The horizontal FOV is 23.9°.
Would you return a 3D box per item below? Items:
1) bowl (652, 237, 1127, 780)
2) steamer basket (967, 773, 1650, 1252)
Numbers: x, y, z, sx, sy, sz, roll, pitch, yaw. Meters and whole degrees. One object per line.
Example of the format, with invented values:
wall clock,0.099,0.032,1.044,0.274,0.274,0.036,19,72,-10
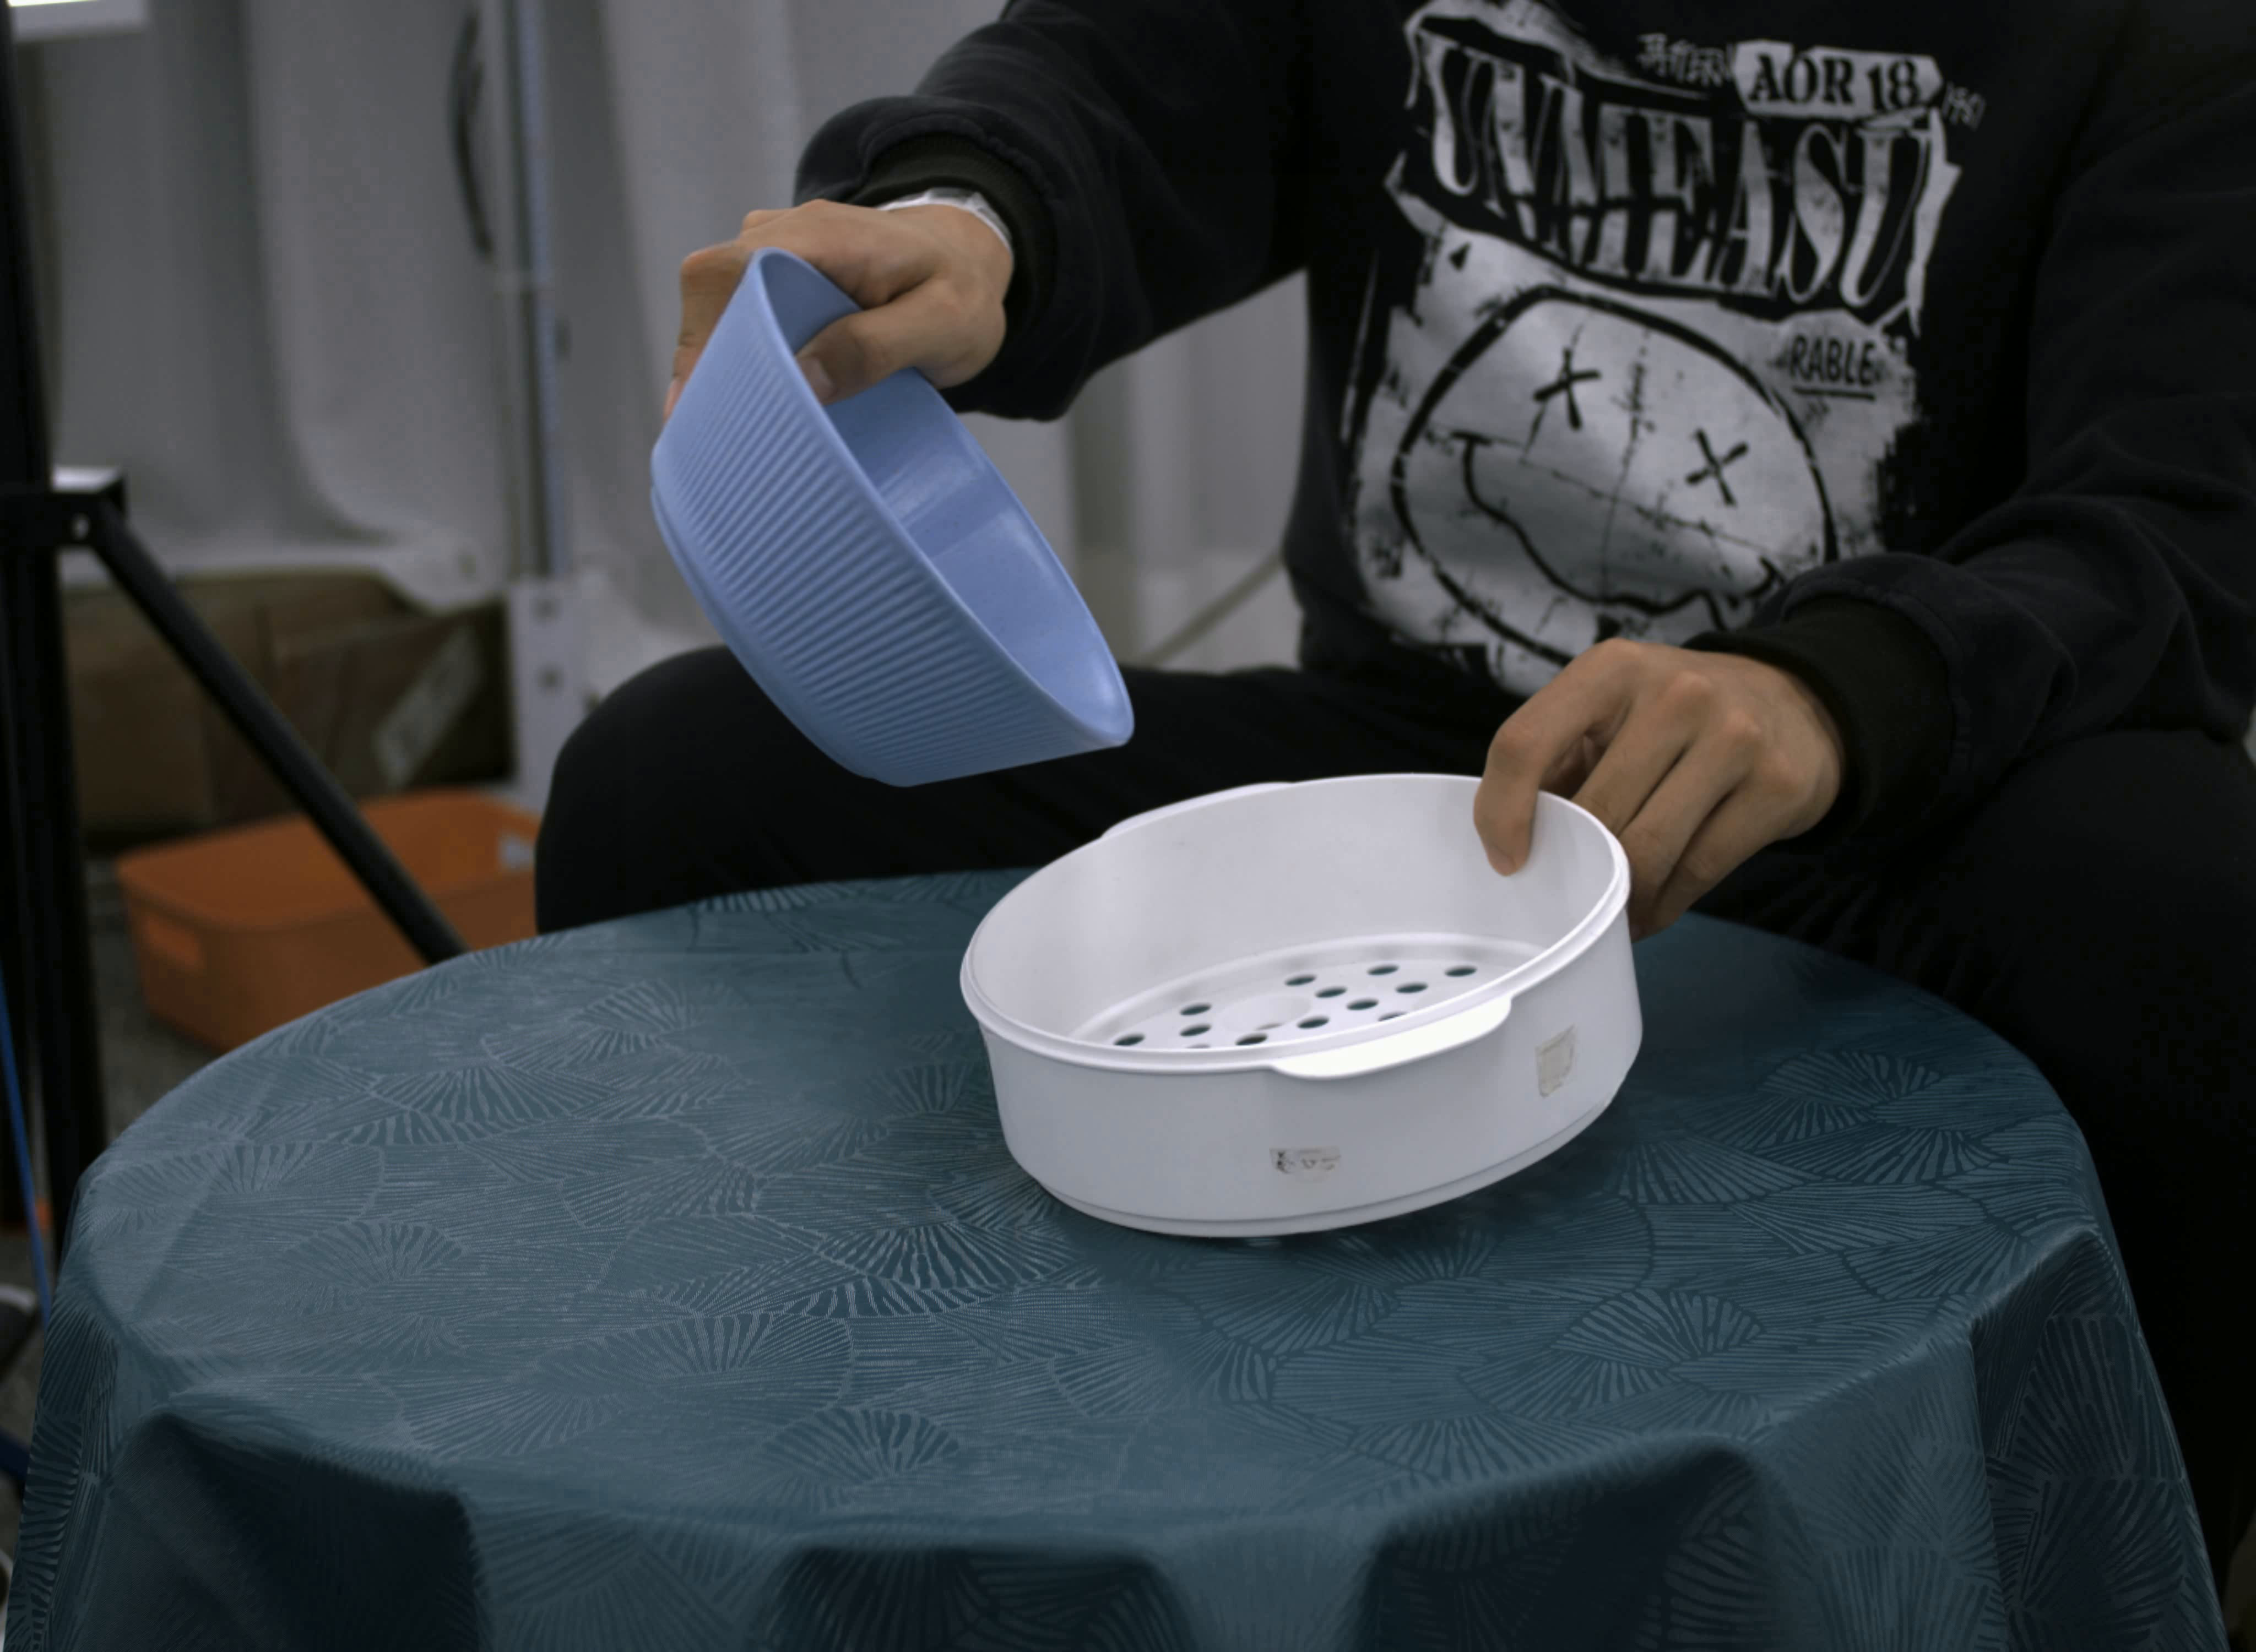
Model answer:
bowl,-0.077,-0.079,1.538,0.070,0.175,0.176,-36,11,11
steamer basket,0.056,0.055,1.571,0.199,0.069,0.234,-15,24,-10
